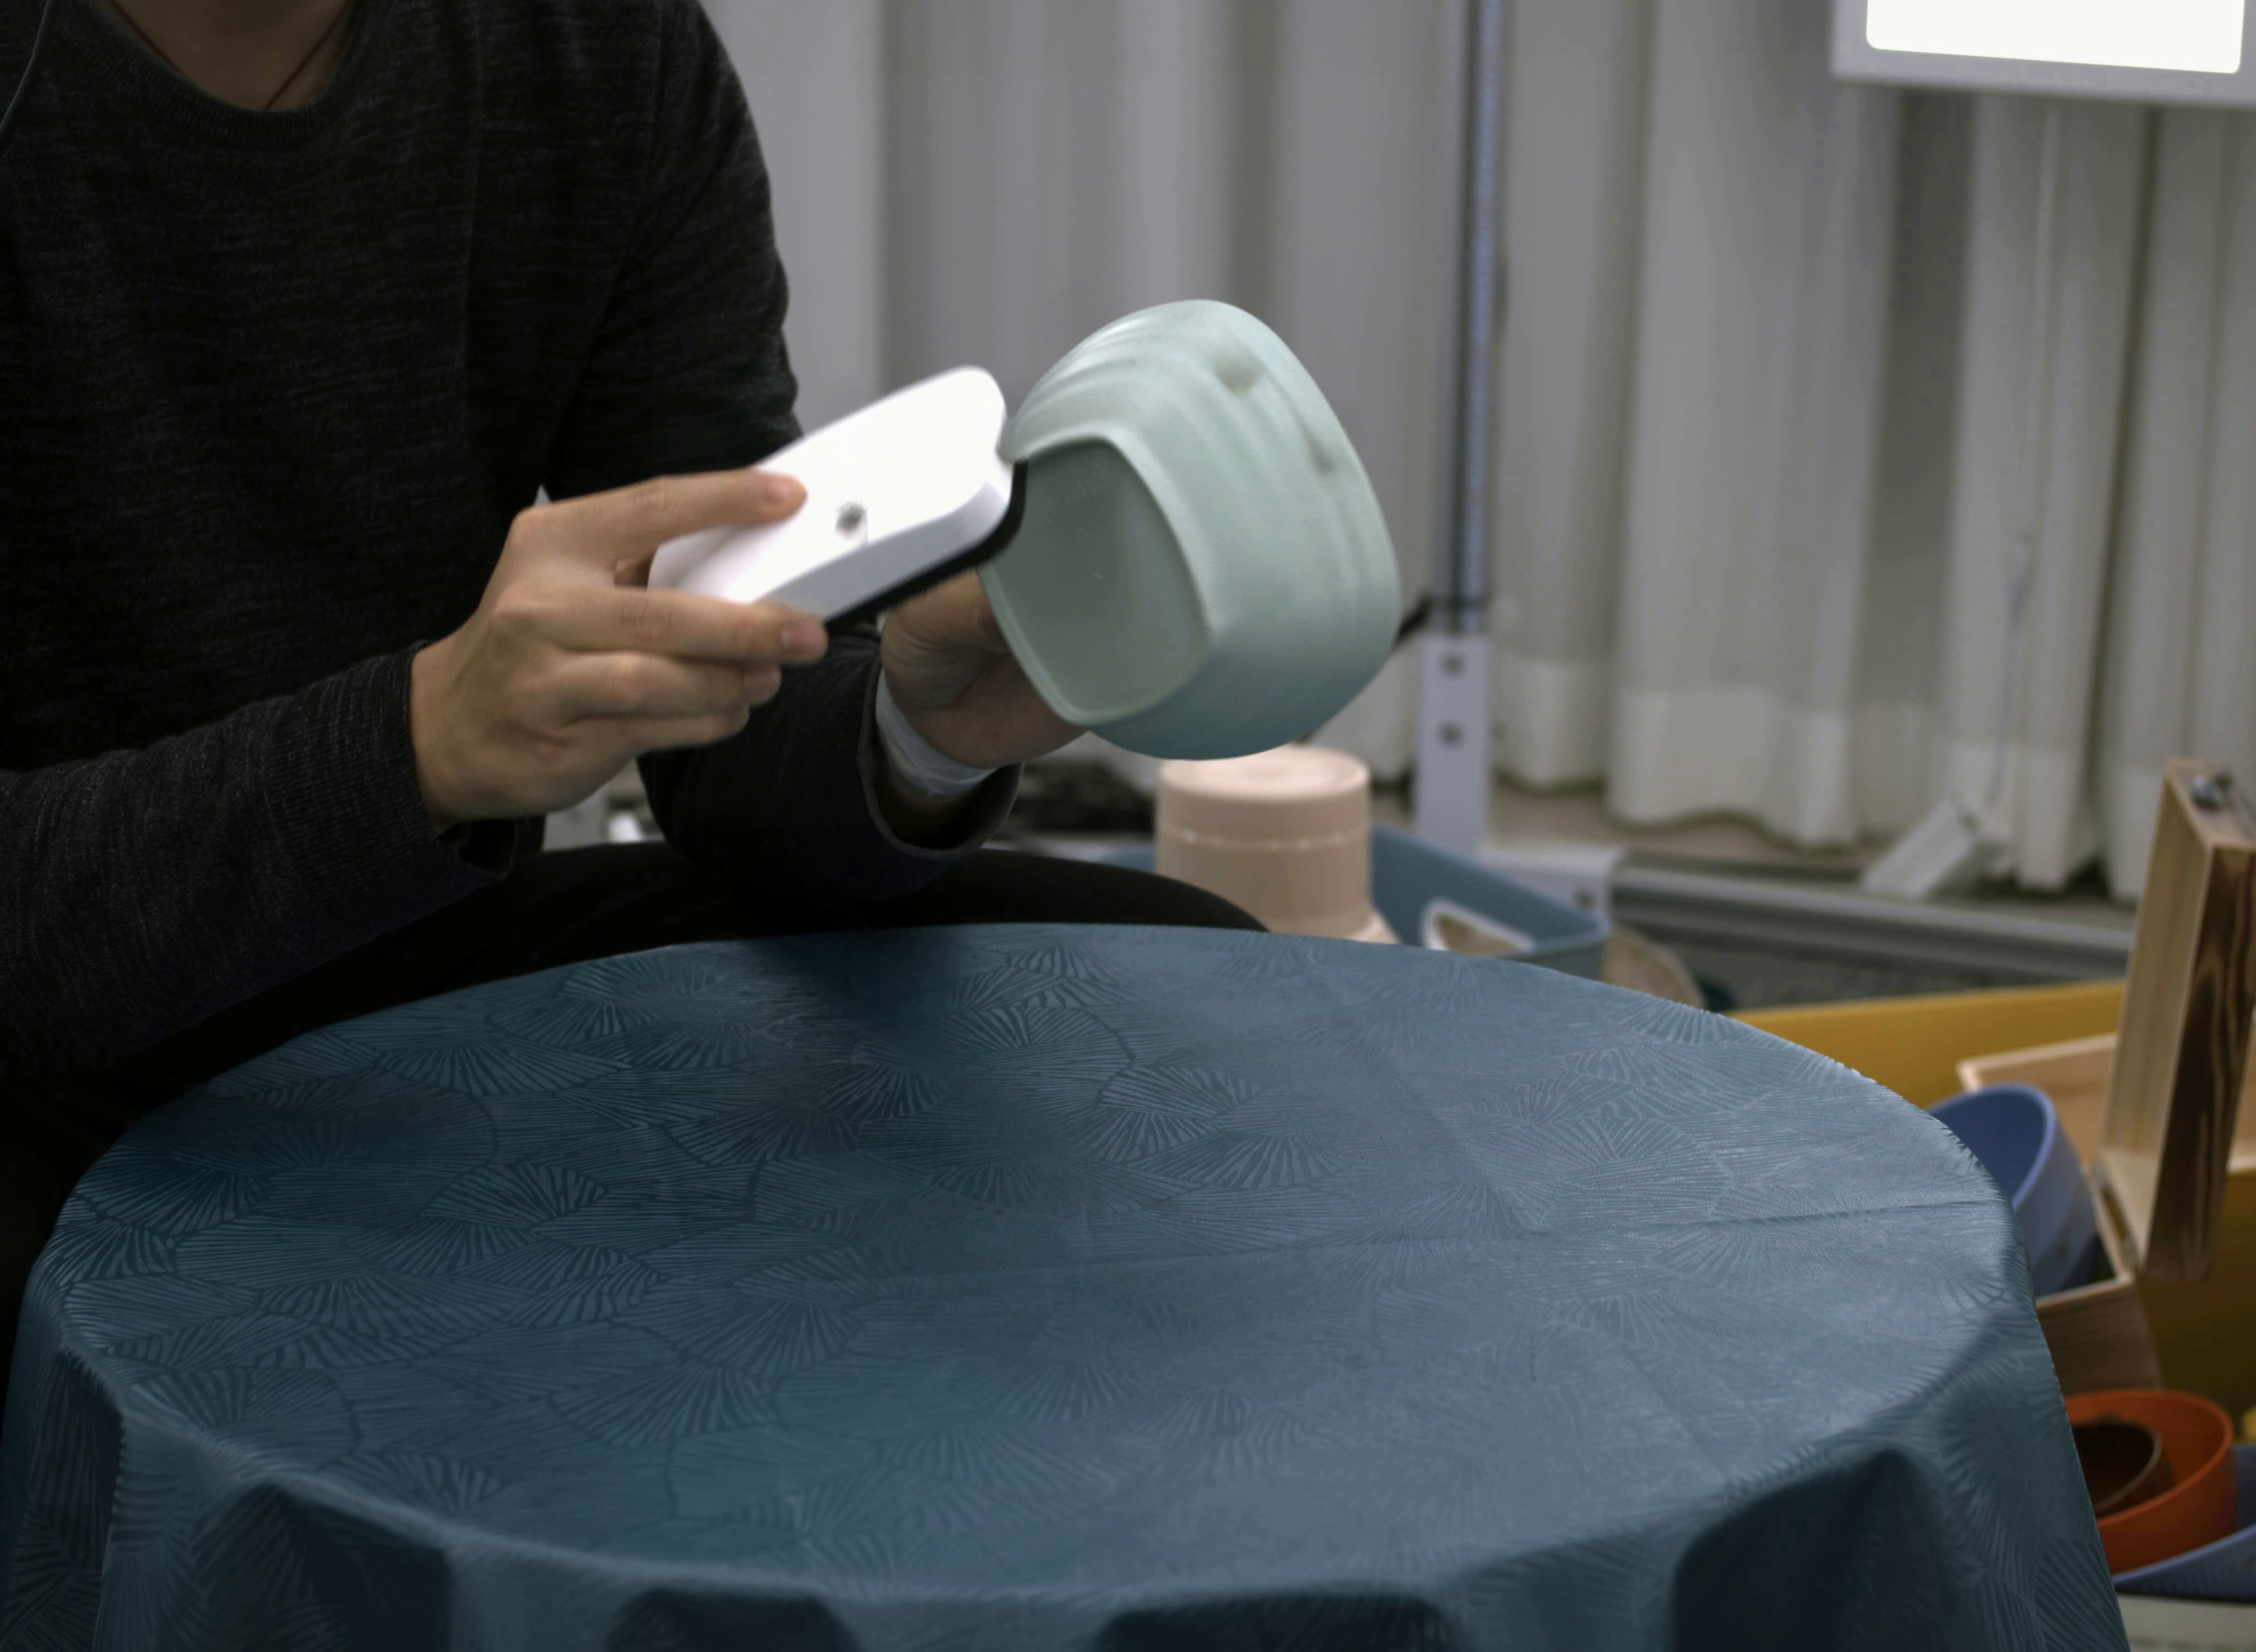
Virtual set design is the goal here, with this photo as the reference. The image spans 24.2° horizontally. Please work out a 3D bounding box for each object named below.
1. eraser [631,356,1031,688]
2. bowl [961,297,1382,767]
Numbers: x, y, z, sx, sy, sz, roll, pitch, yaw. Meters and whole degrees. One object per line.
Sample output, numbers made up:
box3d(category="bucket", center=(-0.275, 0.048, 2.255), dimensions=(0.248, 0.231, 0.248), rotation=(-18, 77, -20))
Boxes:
box3d(category="eraser", center=(-0.088, -0.090, 1.527), dimensions=(0.130, 0.035, 0.063), rotation=(-25, 40, 26))
box3d(category="bowl", center=(0.002, -0.081, 1.582), dimensions=(0.149, 0.153, 0.059), rotation=(15, 27, 41))
